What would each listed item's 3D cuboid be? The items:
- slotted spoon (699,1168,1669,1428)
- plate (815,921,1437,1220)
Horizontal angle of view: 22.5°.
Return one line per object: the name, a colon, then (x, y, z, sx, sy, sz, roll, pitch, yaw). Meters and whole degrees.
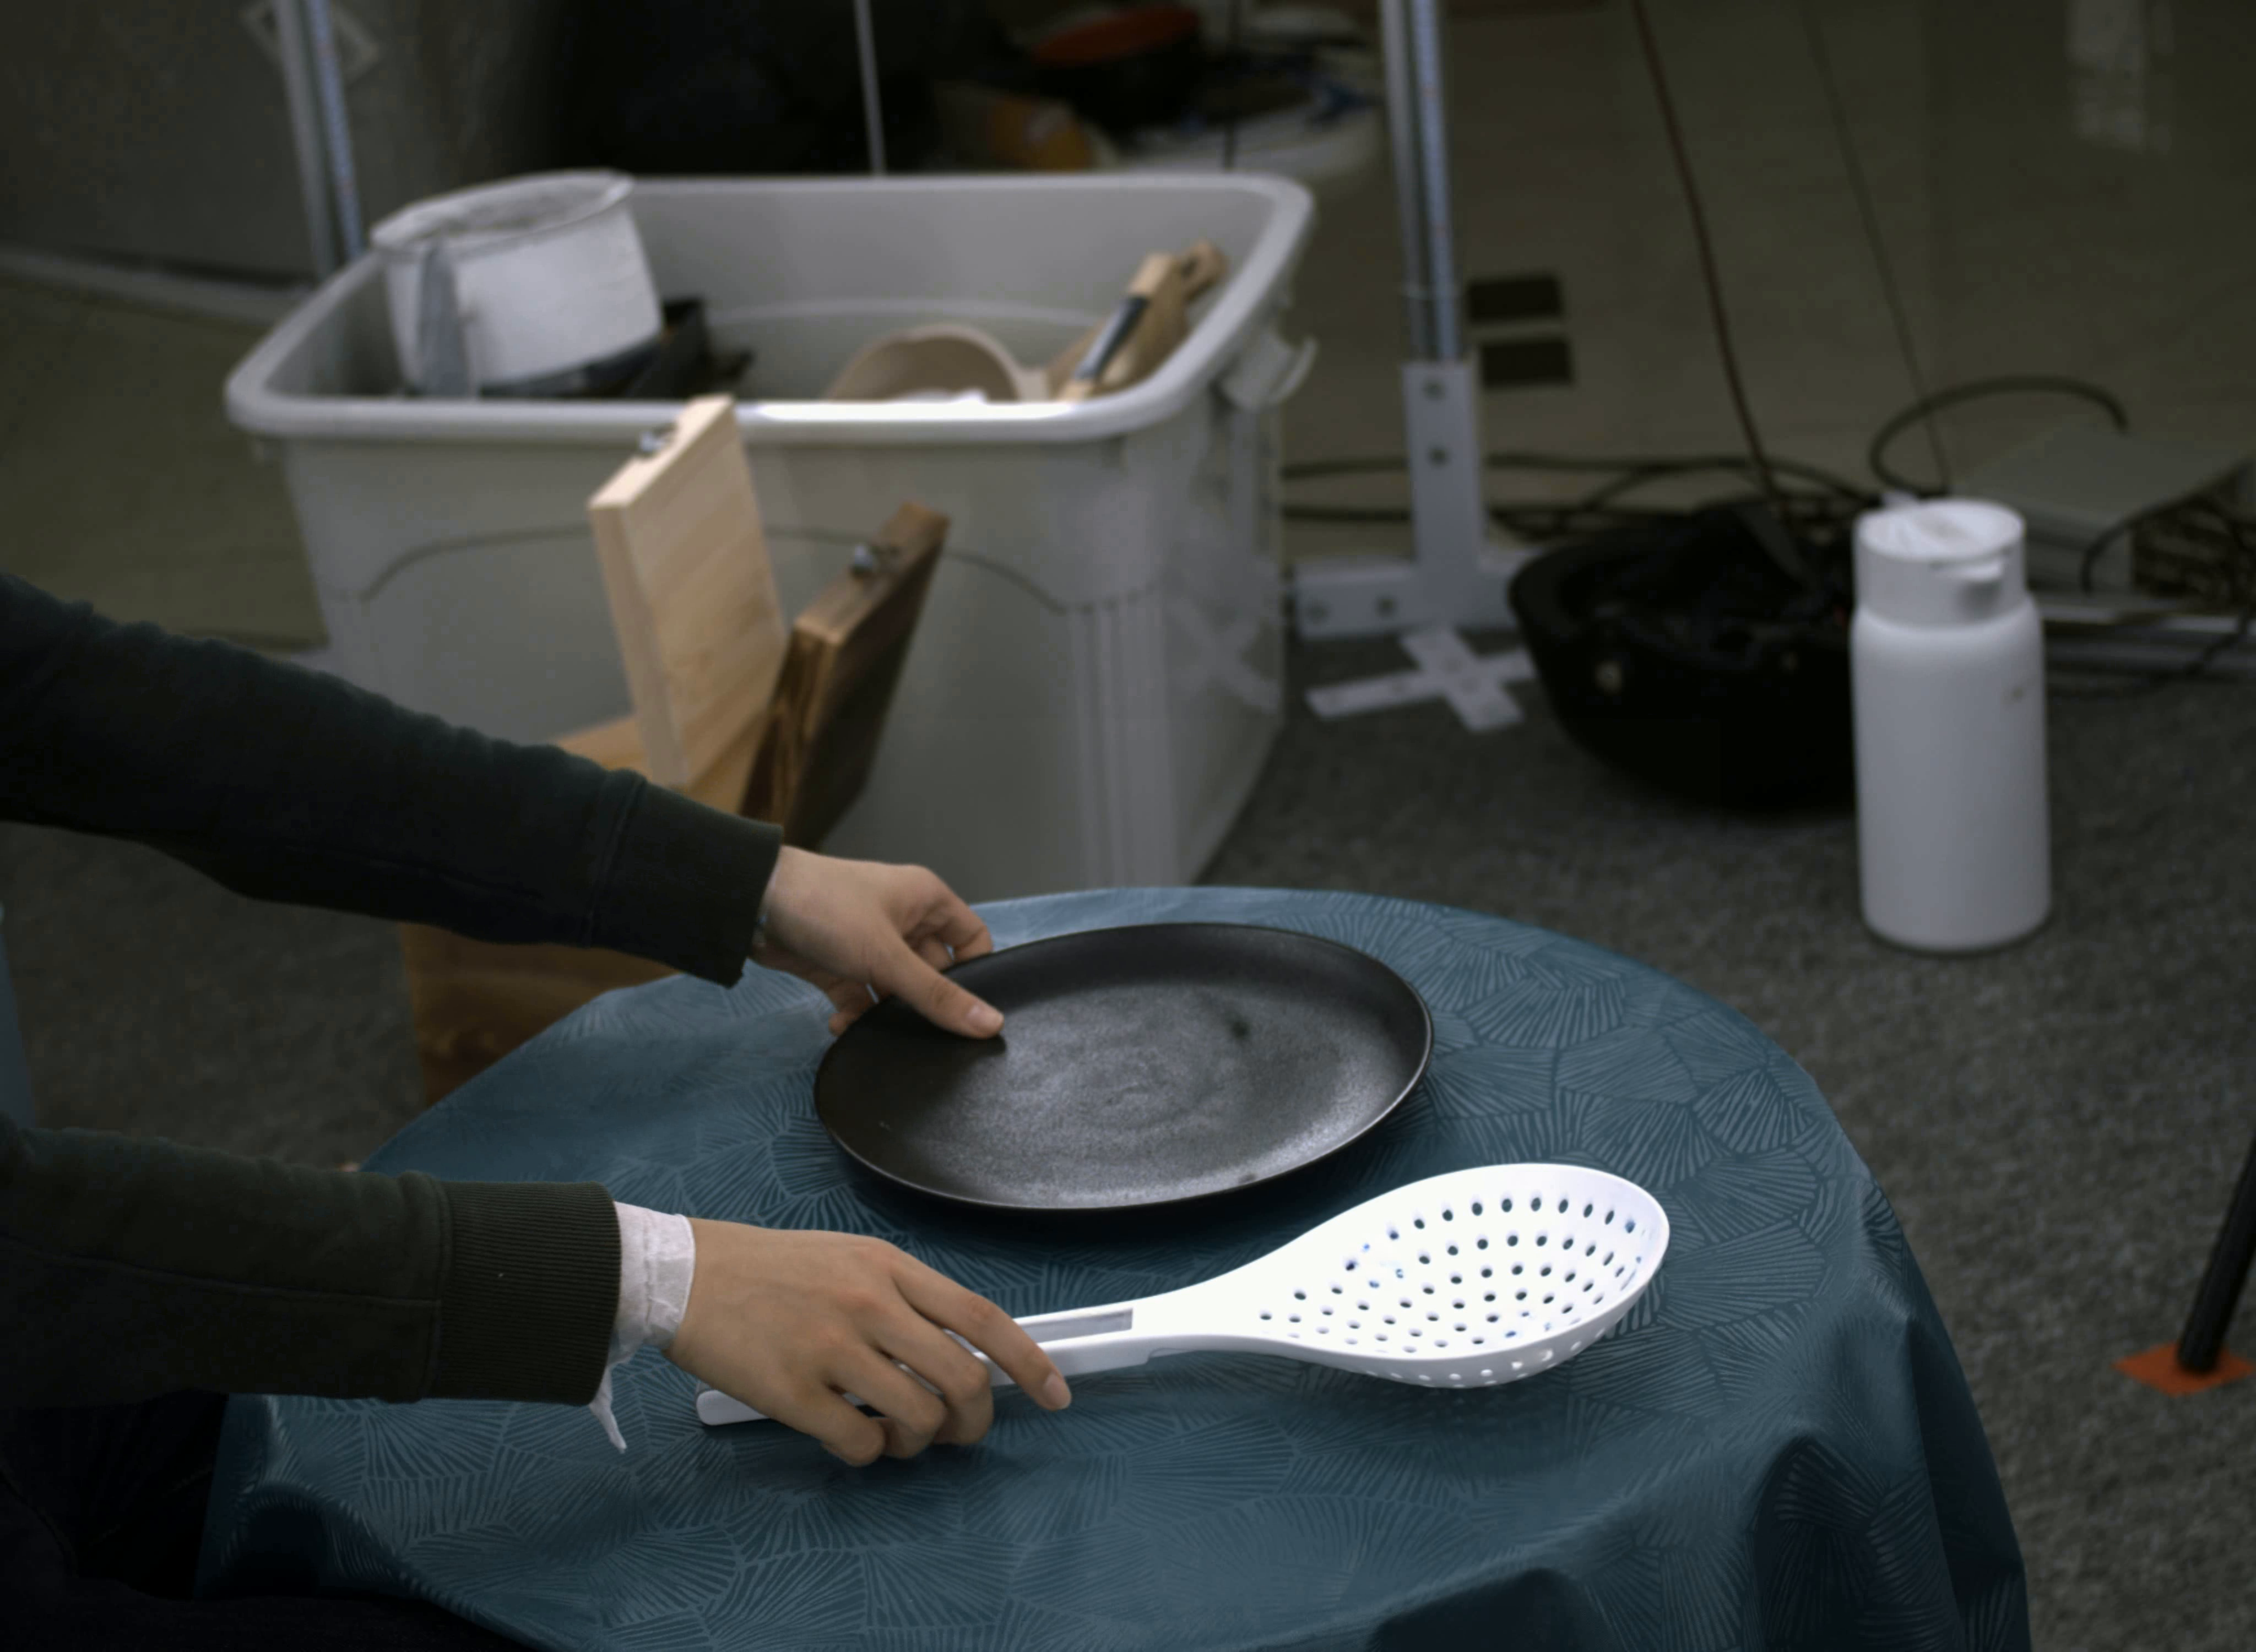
slotted spoon: (0.018, 0.177, 2.013, 0.349, 0.046, 0.134, -5, 23, 5)
plate: (0.000, 0.100, 2.209, 0.244, 0.024, 0.241, -5, 25, 3)
